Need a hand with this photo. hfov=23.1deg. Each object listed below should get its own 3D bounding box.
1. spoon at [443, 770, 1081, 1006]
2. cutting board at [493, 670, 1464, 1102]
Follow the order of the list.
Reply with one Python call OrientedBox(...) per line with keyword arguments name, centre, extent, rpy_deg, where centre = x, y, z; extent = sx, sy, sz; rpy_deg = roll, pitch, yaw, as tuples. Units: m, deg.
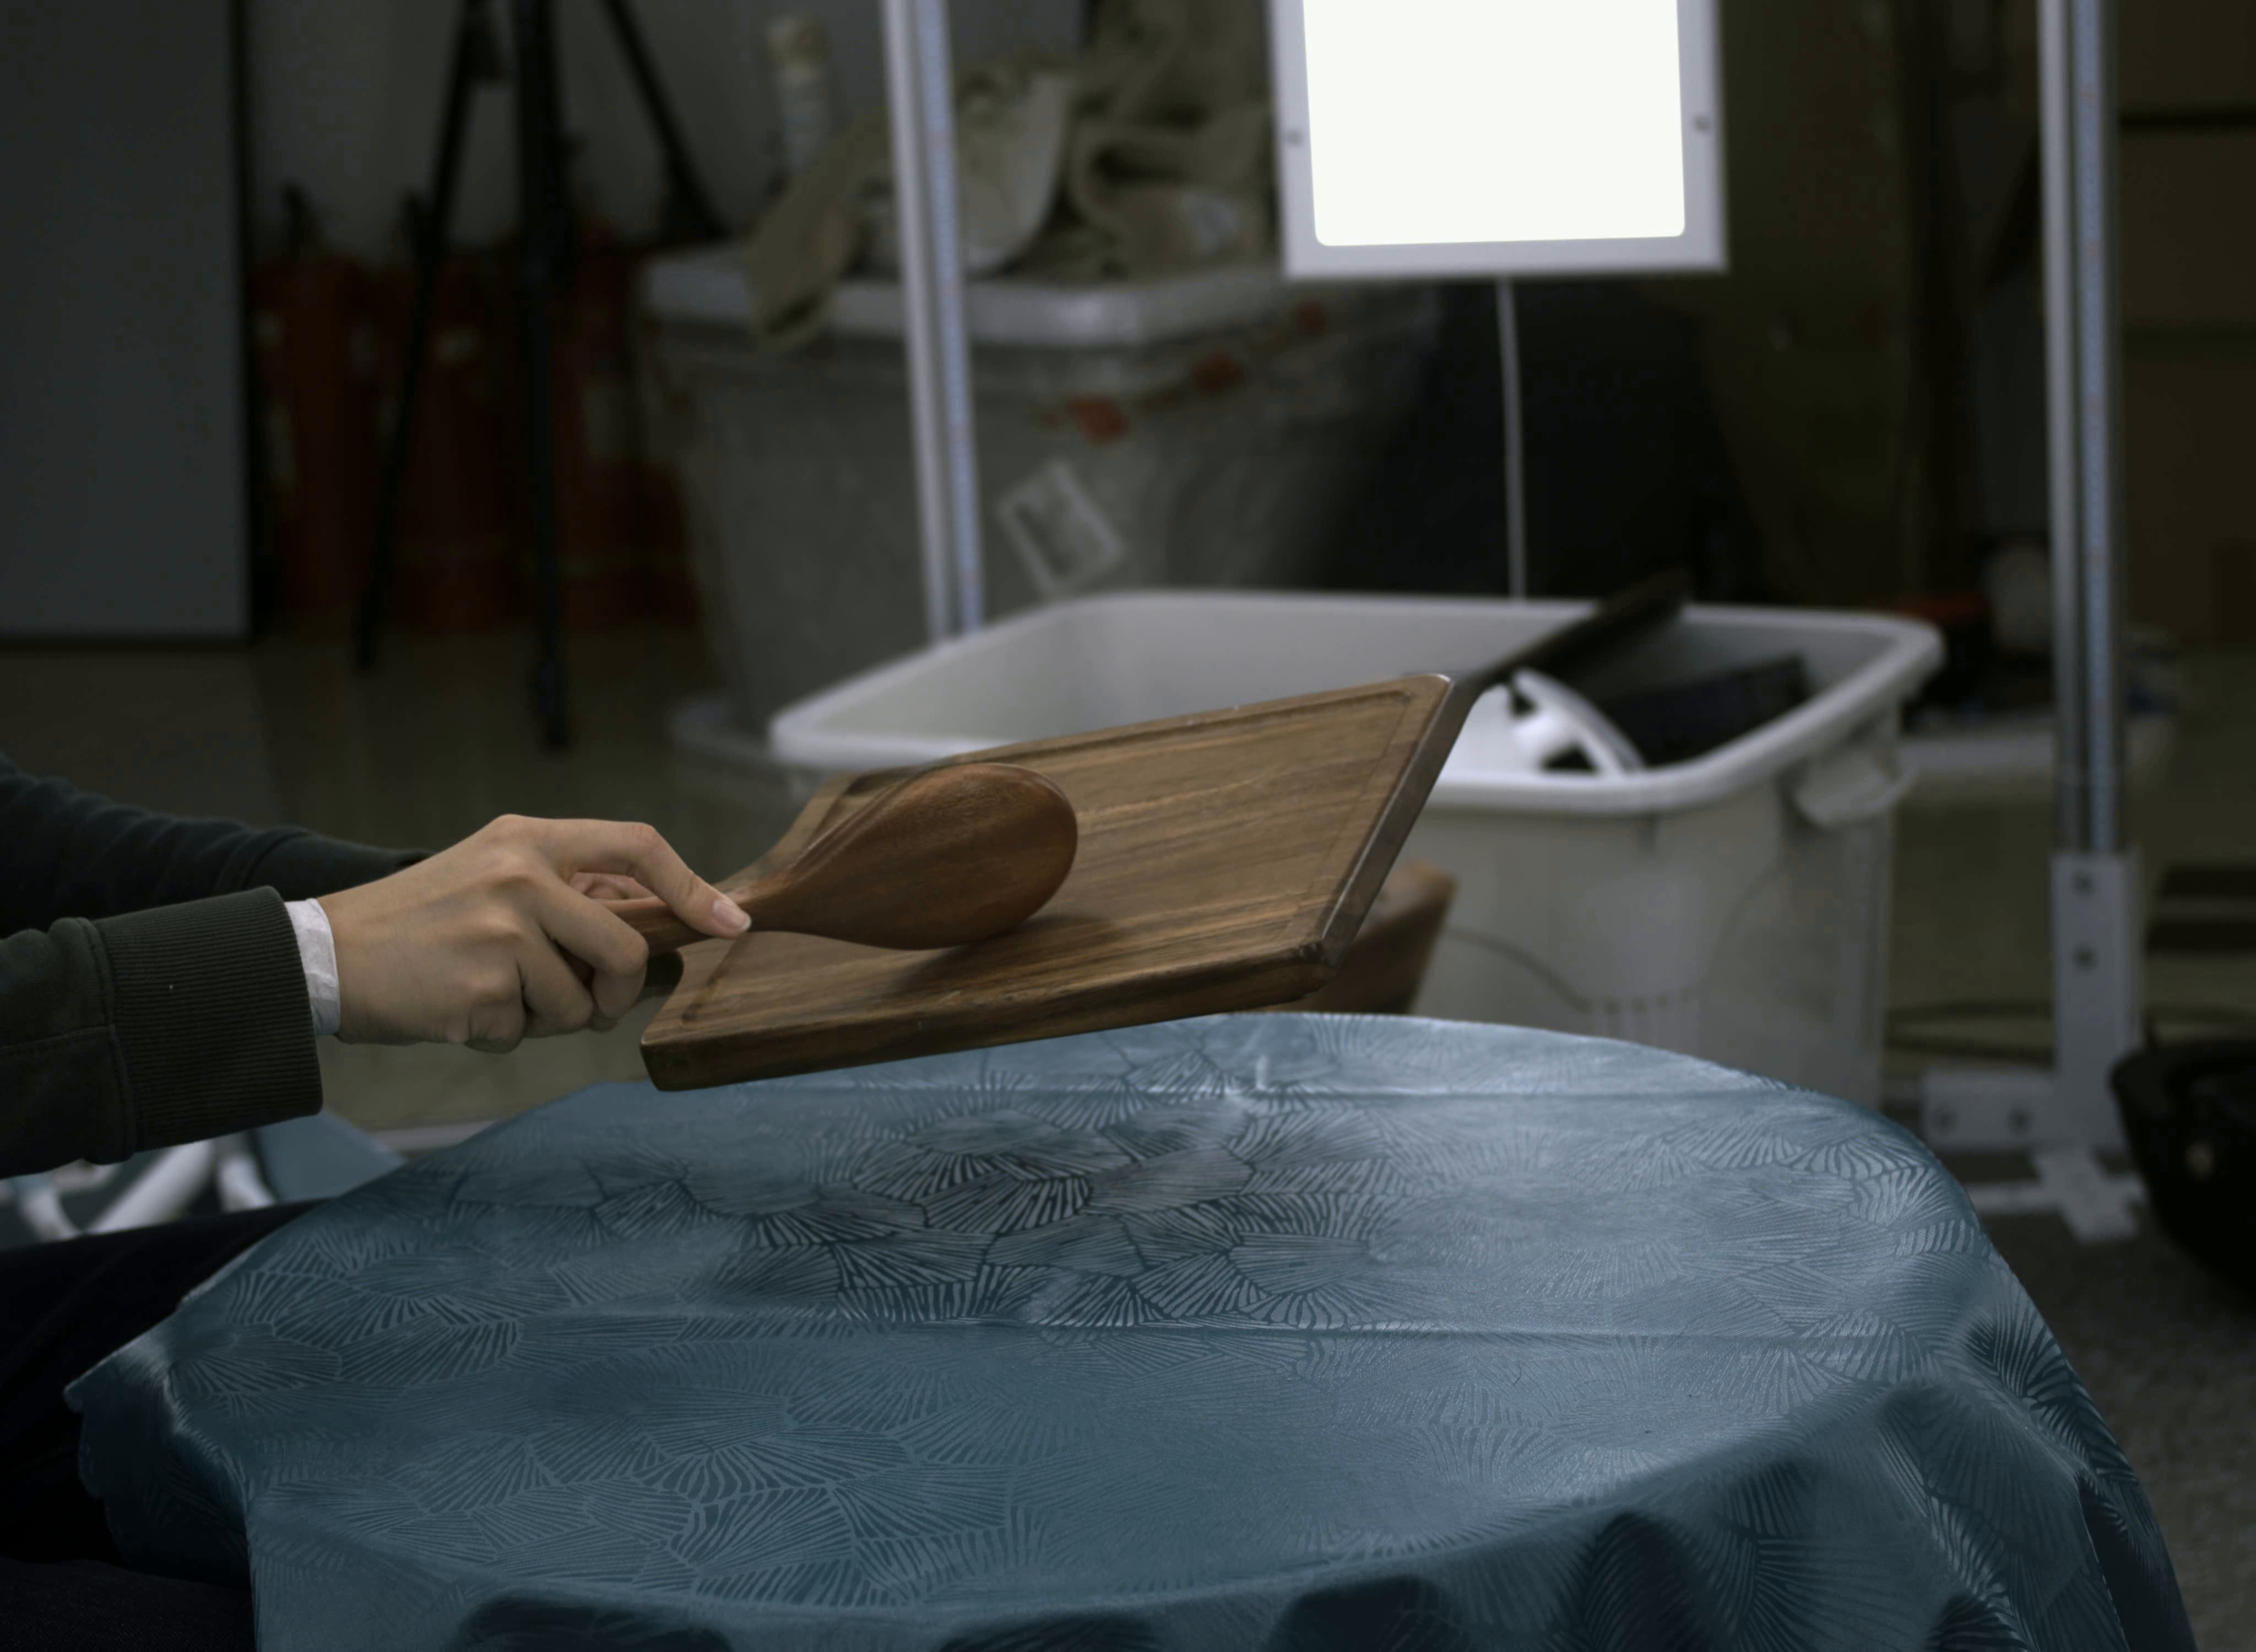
OrientedBox(name="spoon", centre=(-0.118, 0.027, 1.808), extent=(0.214, 0.076, 0.017), rpy_deg=(-12, 45, -6))
OrientedBox(name="cutting board", centre=(-0.067, 0.026, 1.898), extent=(0.358, 0.023, 0.198), rpy_deg=(-10, 27, 26))
